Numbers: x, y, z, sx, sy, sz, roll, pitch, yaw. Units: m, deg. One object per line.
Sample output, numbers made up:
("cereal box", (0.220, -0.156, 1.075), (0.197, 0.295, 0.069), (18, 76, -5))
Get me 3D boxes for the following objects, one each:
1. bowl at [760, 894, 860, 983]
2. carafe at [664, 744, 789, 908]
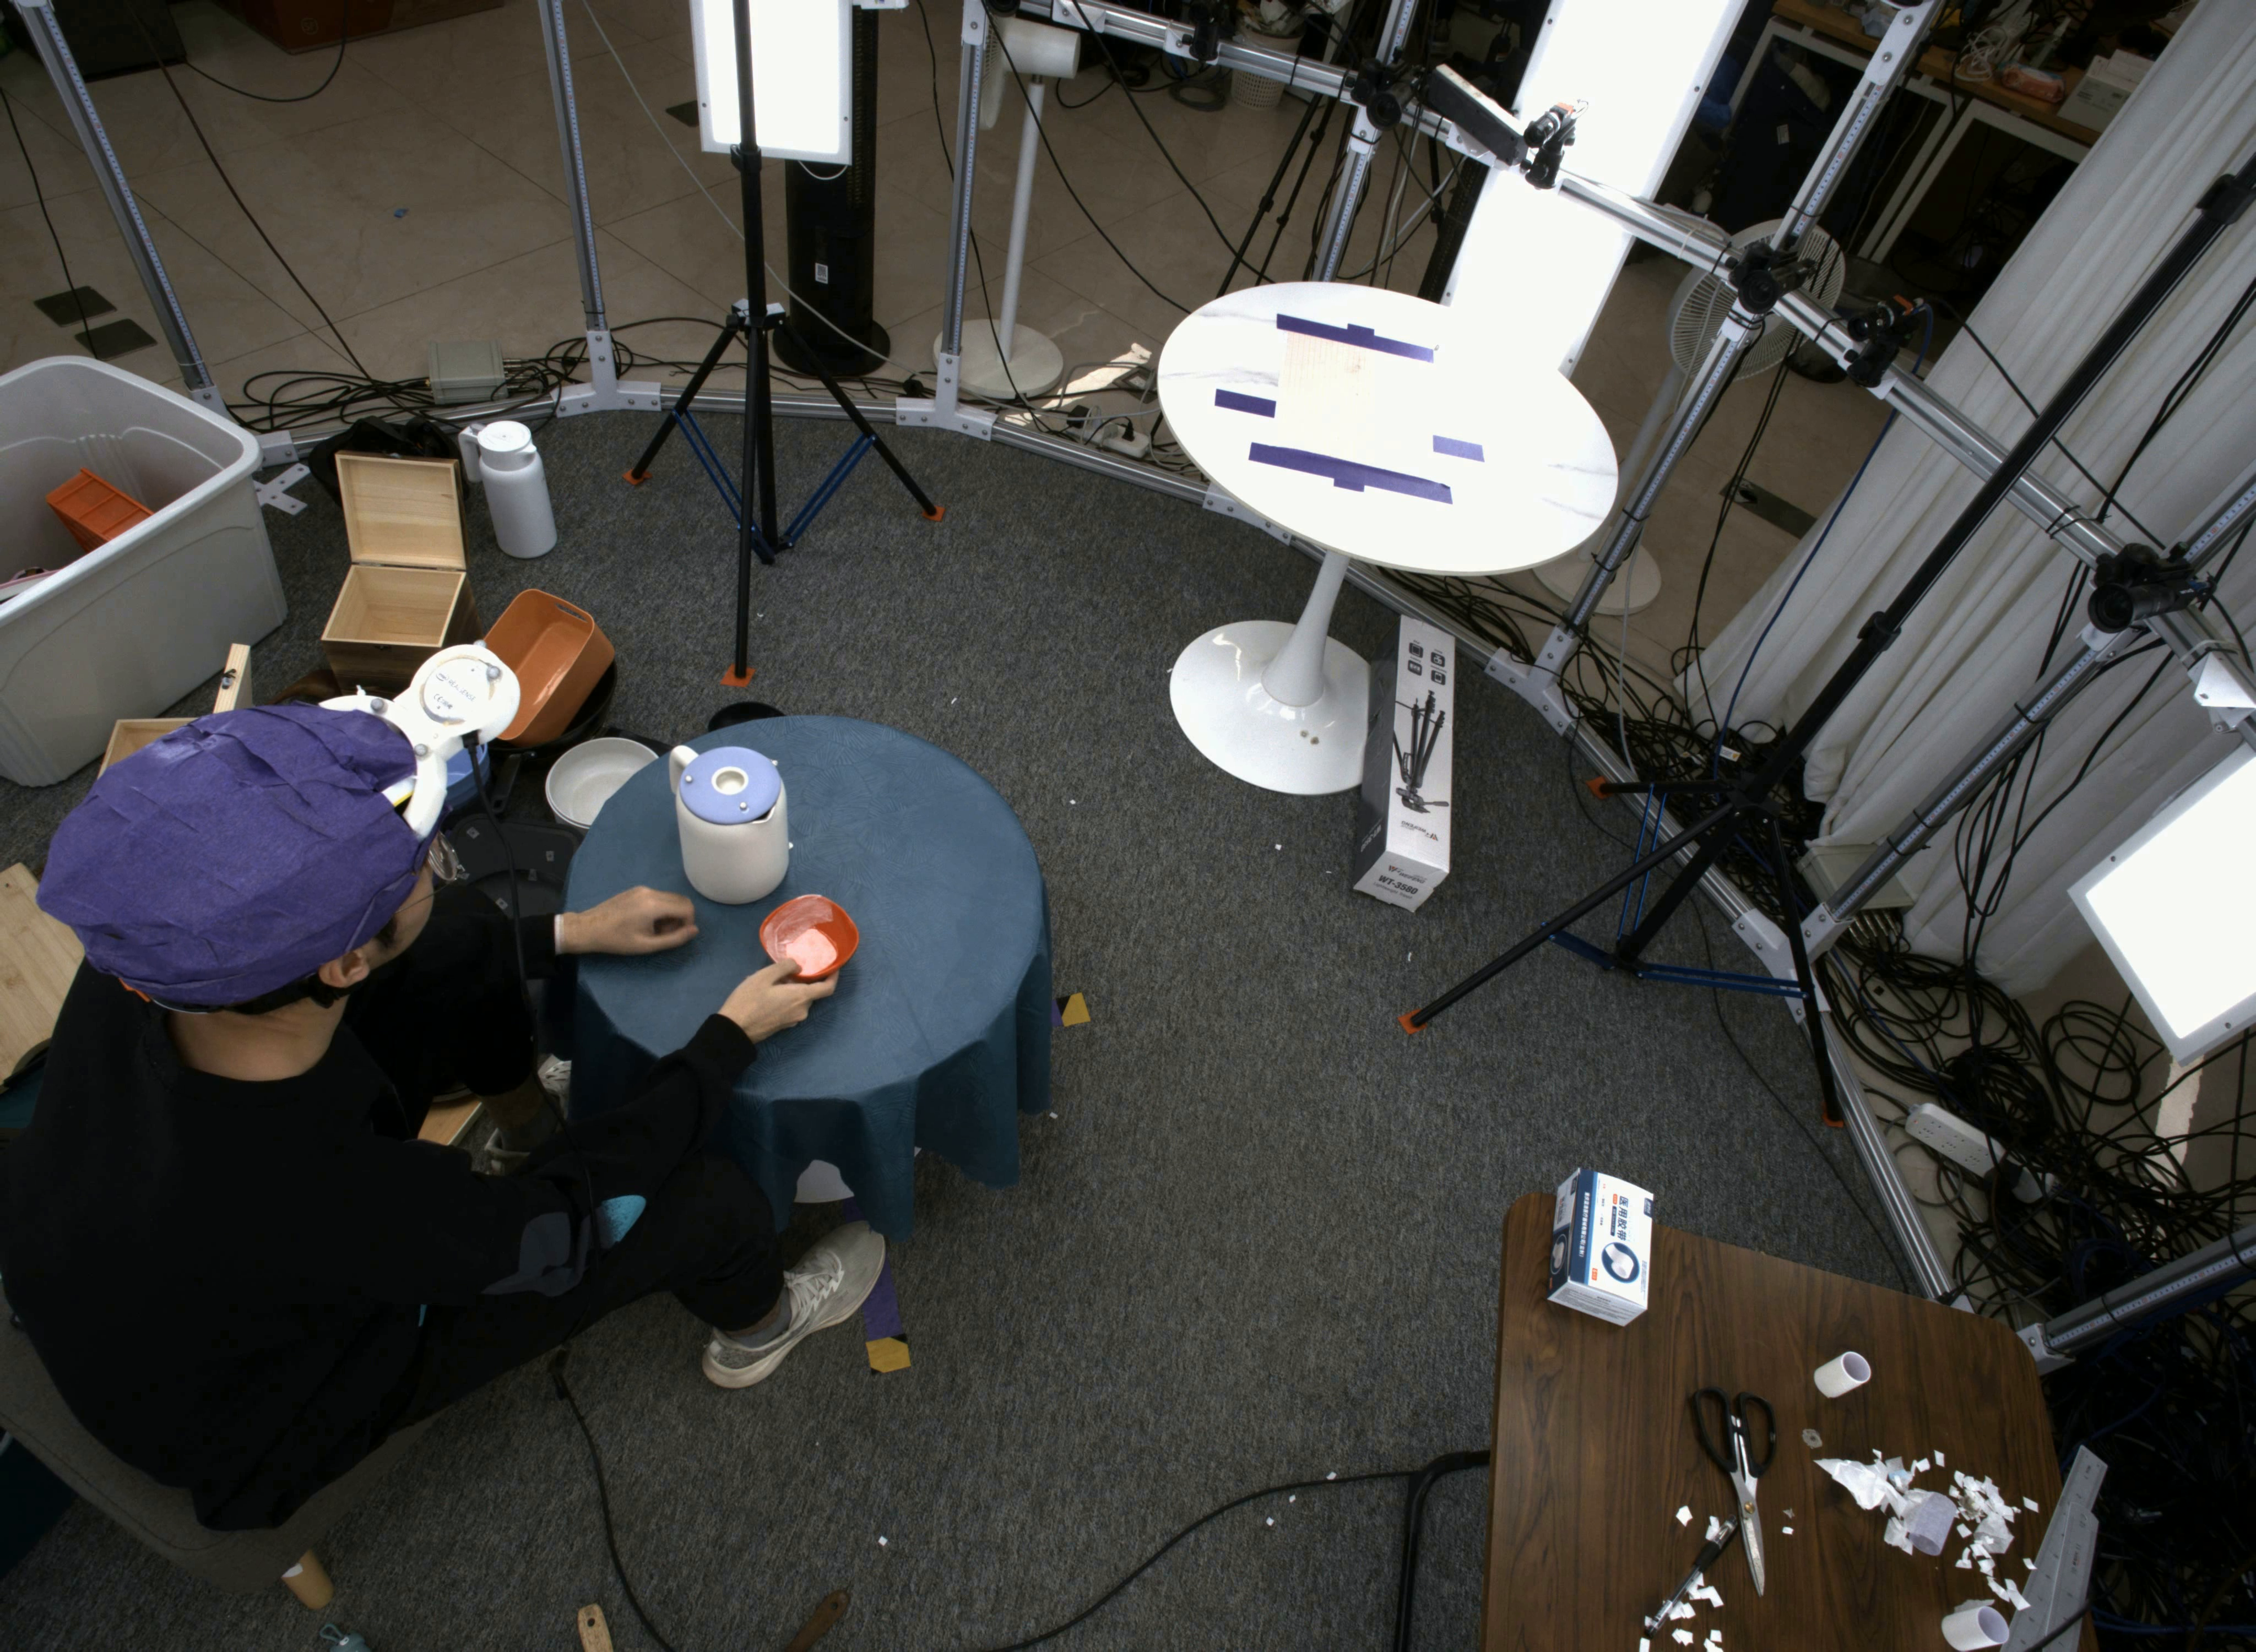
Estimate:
("bowl", (-0.391, 0.145, 1.592), (0.119, 0.052, 0.117), (11, 51, -12))
("carafe", (-0.509, -0.014, 1.608), (0.187, 0.187, 0.132), (35, 52, 17))
